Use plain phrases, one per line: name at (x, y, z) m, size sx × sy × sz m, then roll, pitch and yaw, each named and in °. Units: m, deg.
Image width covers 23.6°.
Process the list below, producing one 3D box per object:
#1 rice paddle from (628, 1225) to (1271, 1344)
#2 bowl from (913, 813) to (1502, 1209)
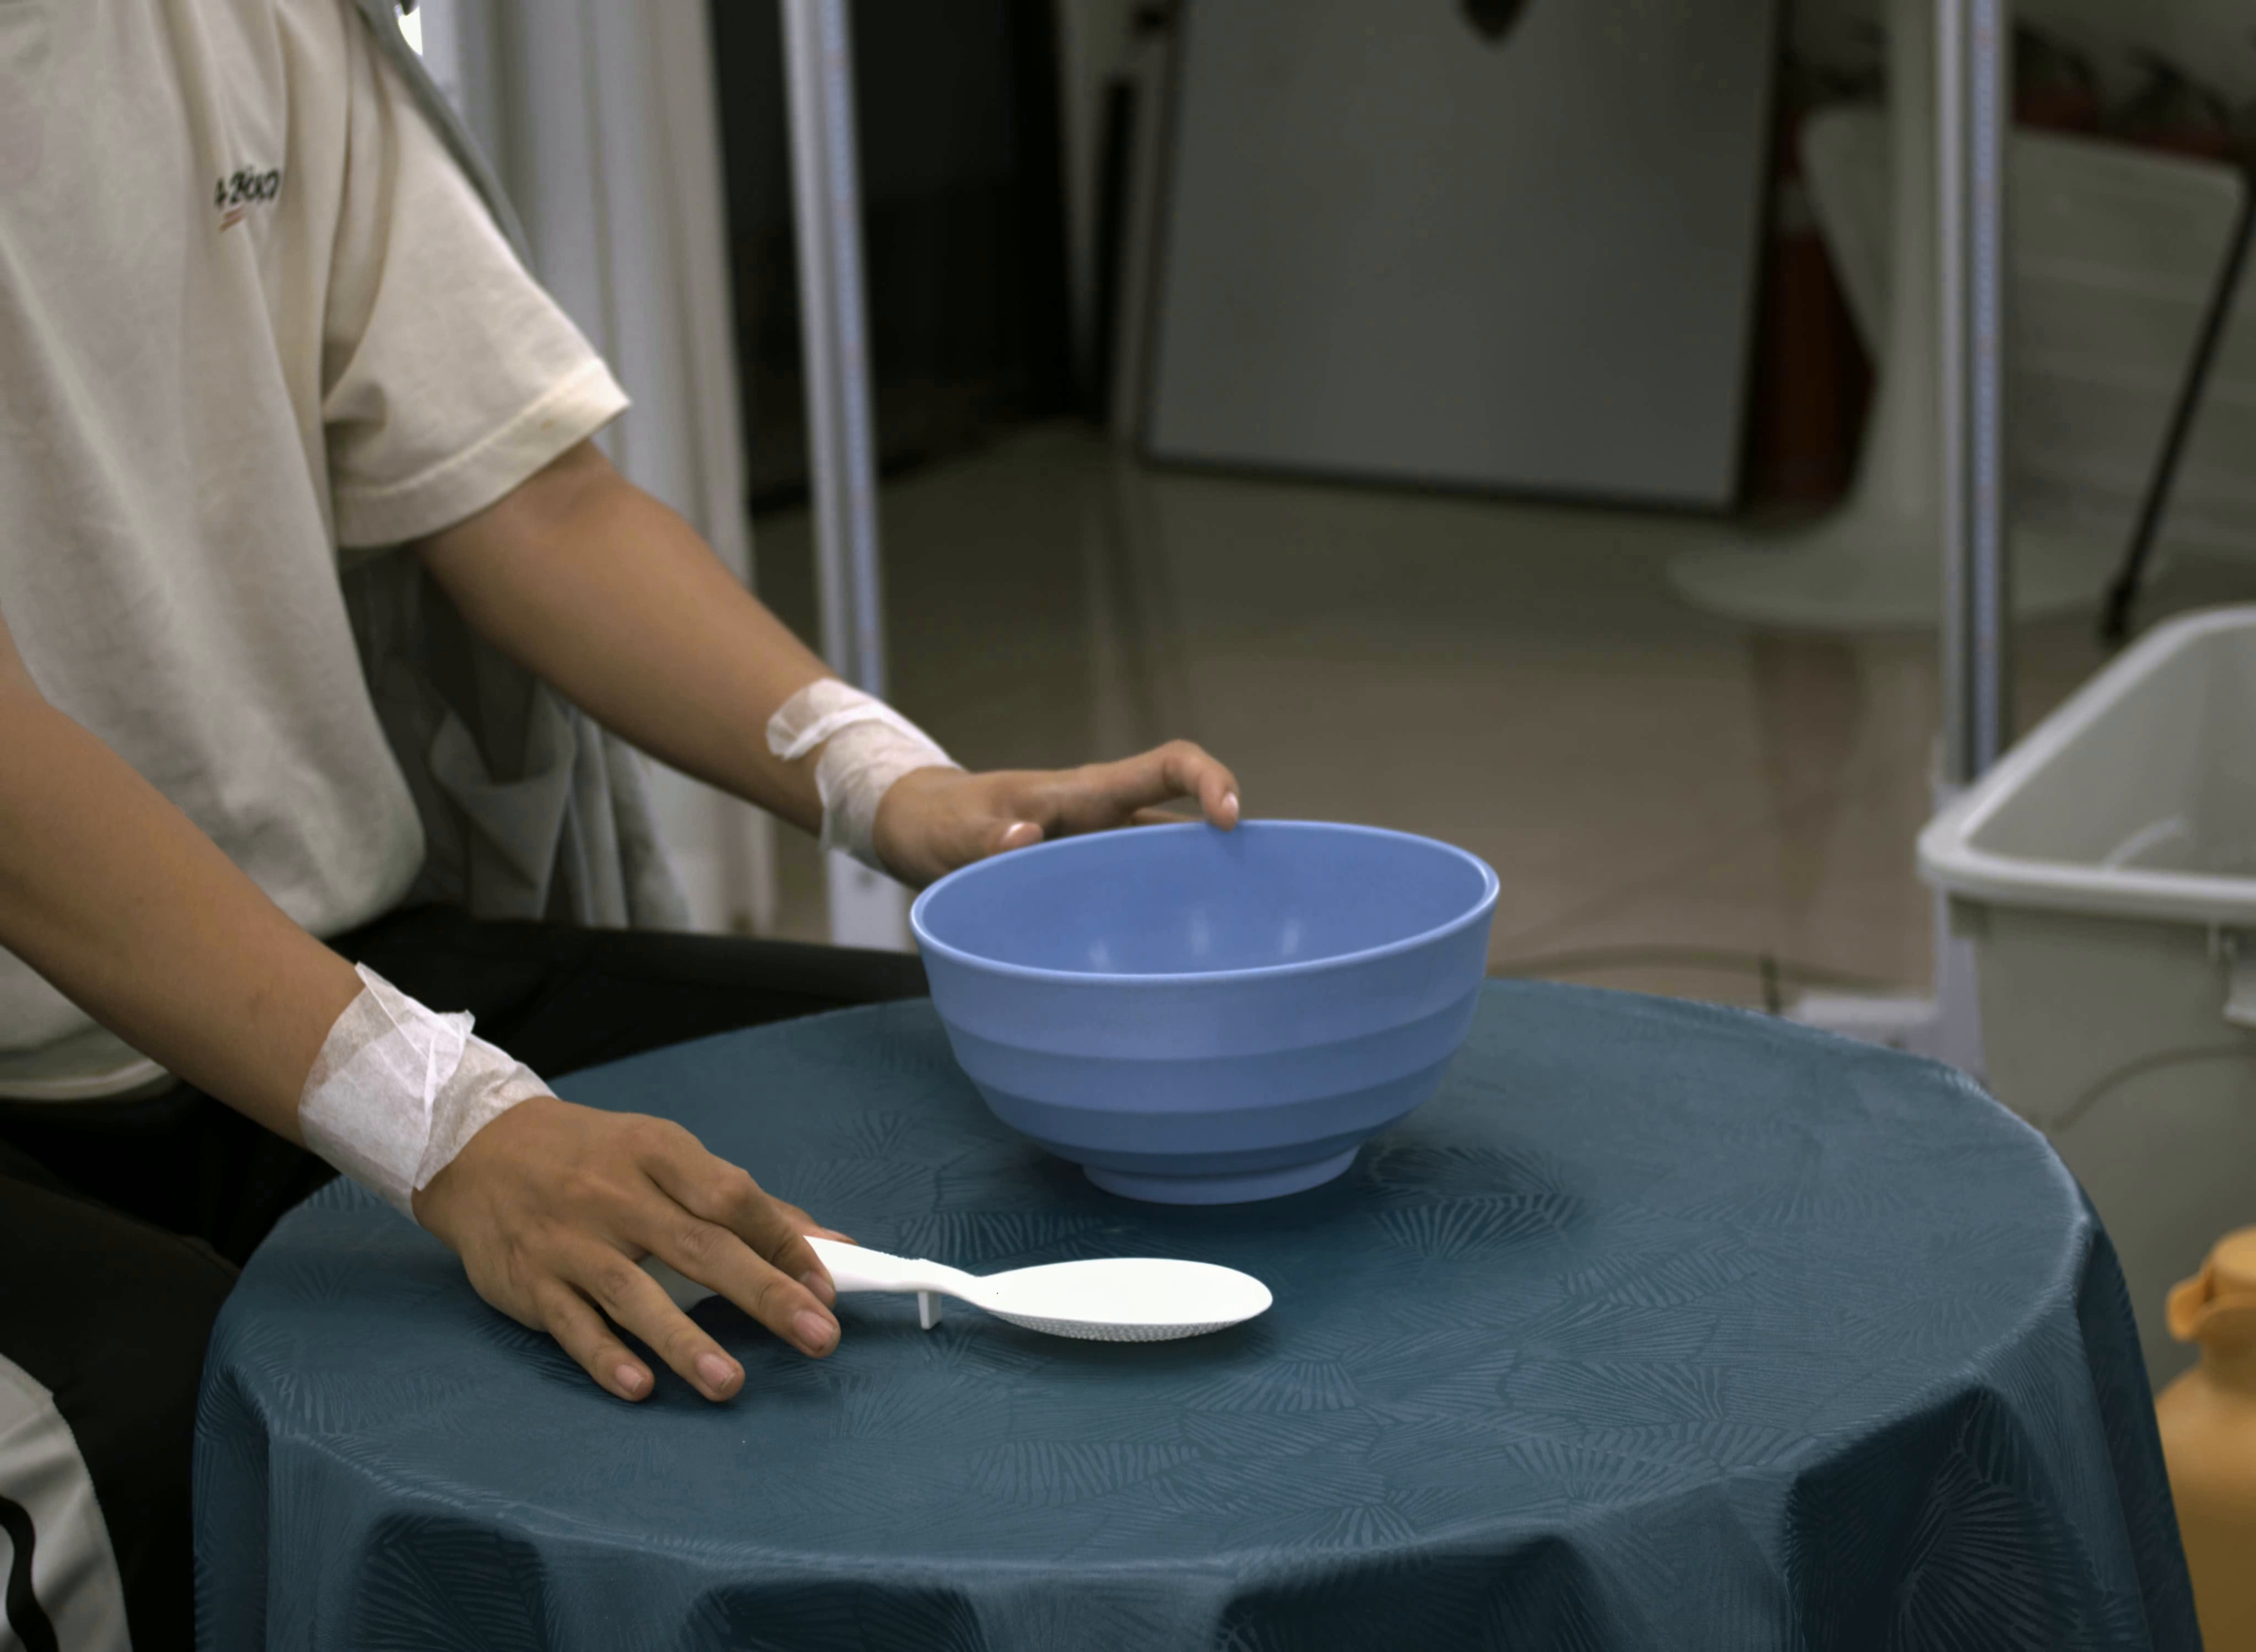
rice paddle at (-0.054, 0.140, 1.651) m, size 0.205 × 0.030 × 0.068 m, roll 1°, pitch 12°, yaw 18°
bowl at (0.028, 0.067, 1.785) m, size 0.194 × 0.096 × 0.197 m, roll -3°, pitch 15°, yaw 0°
